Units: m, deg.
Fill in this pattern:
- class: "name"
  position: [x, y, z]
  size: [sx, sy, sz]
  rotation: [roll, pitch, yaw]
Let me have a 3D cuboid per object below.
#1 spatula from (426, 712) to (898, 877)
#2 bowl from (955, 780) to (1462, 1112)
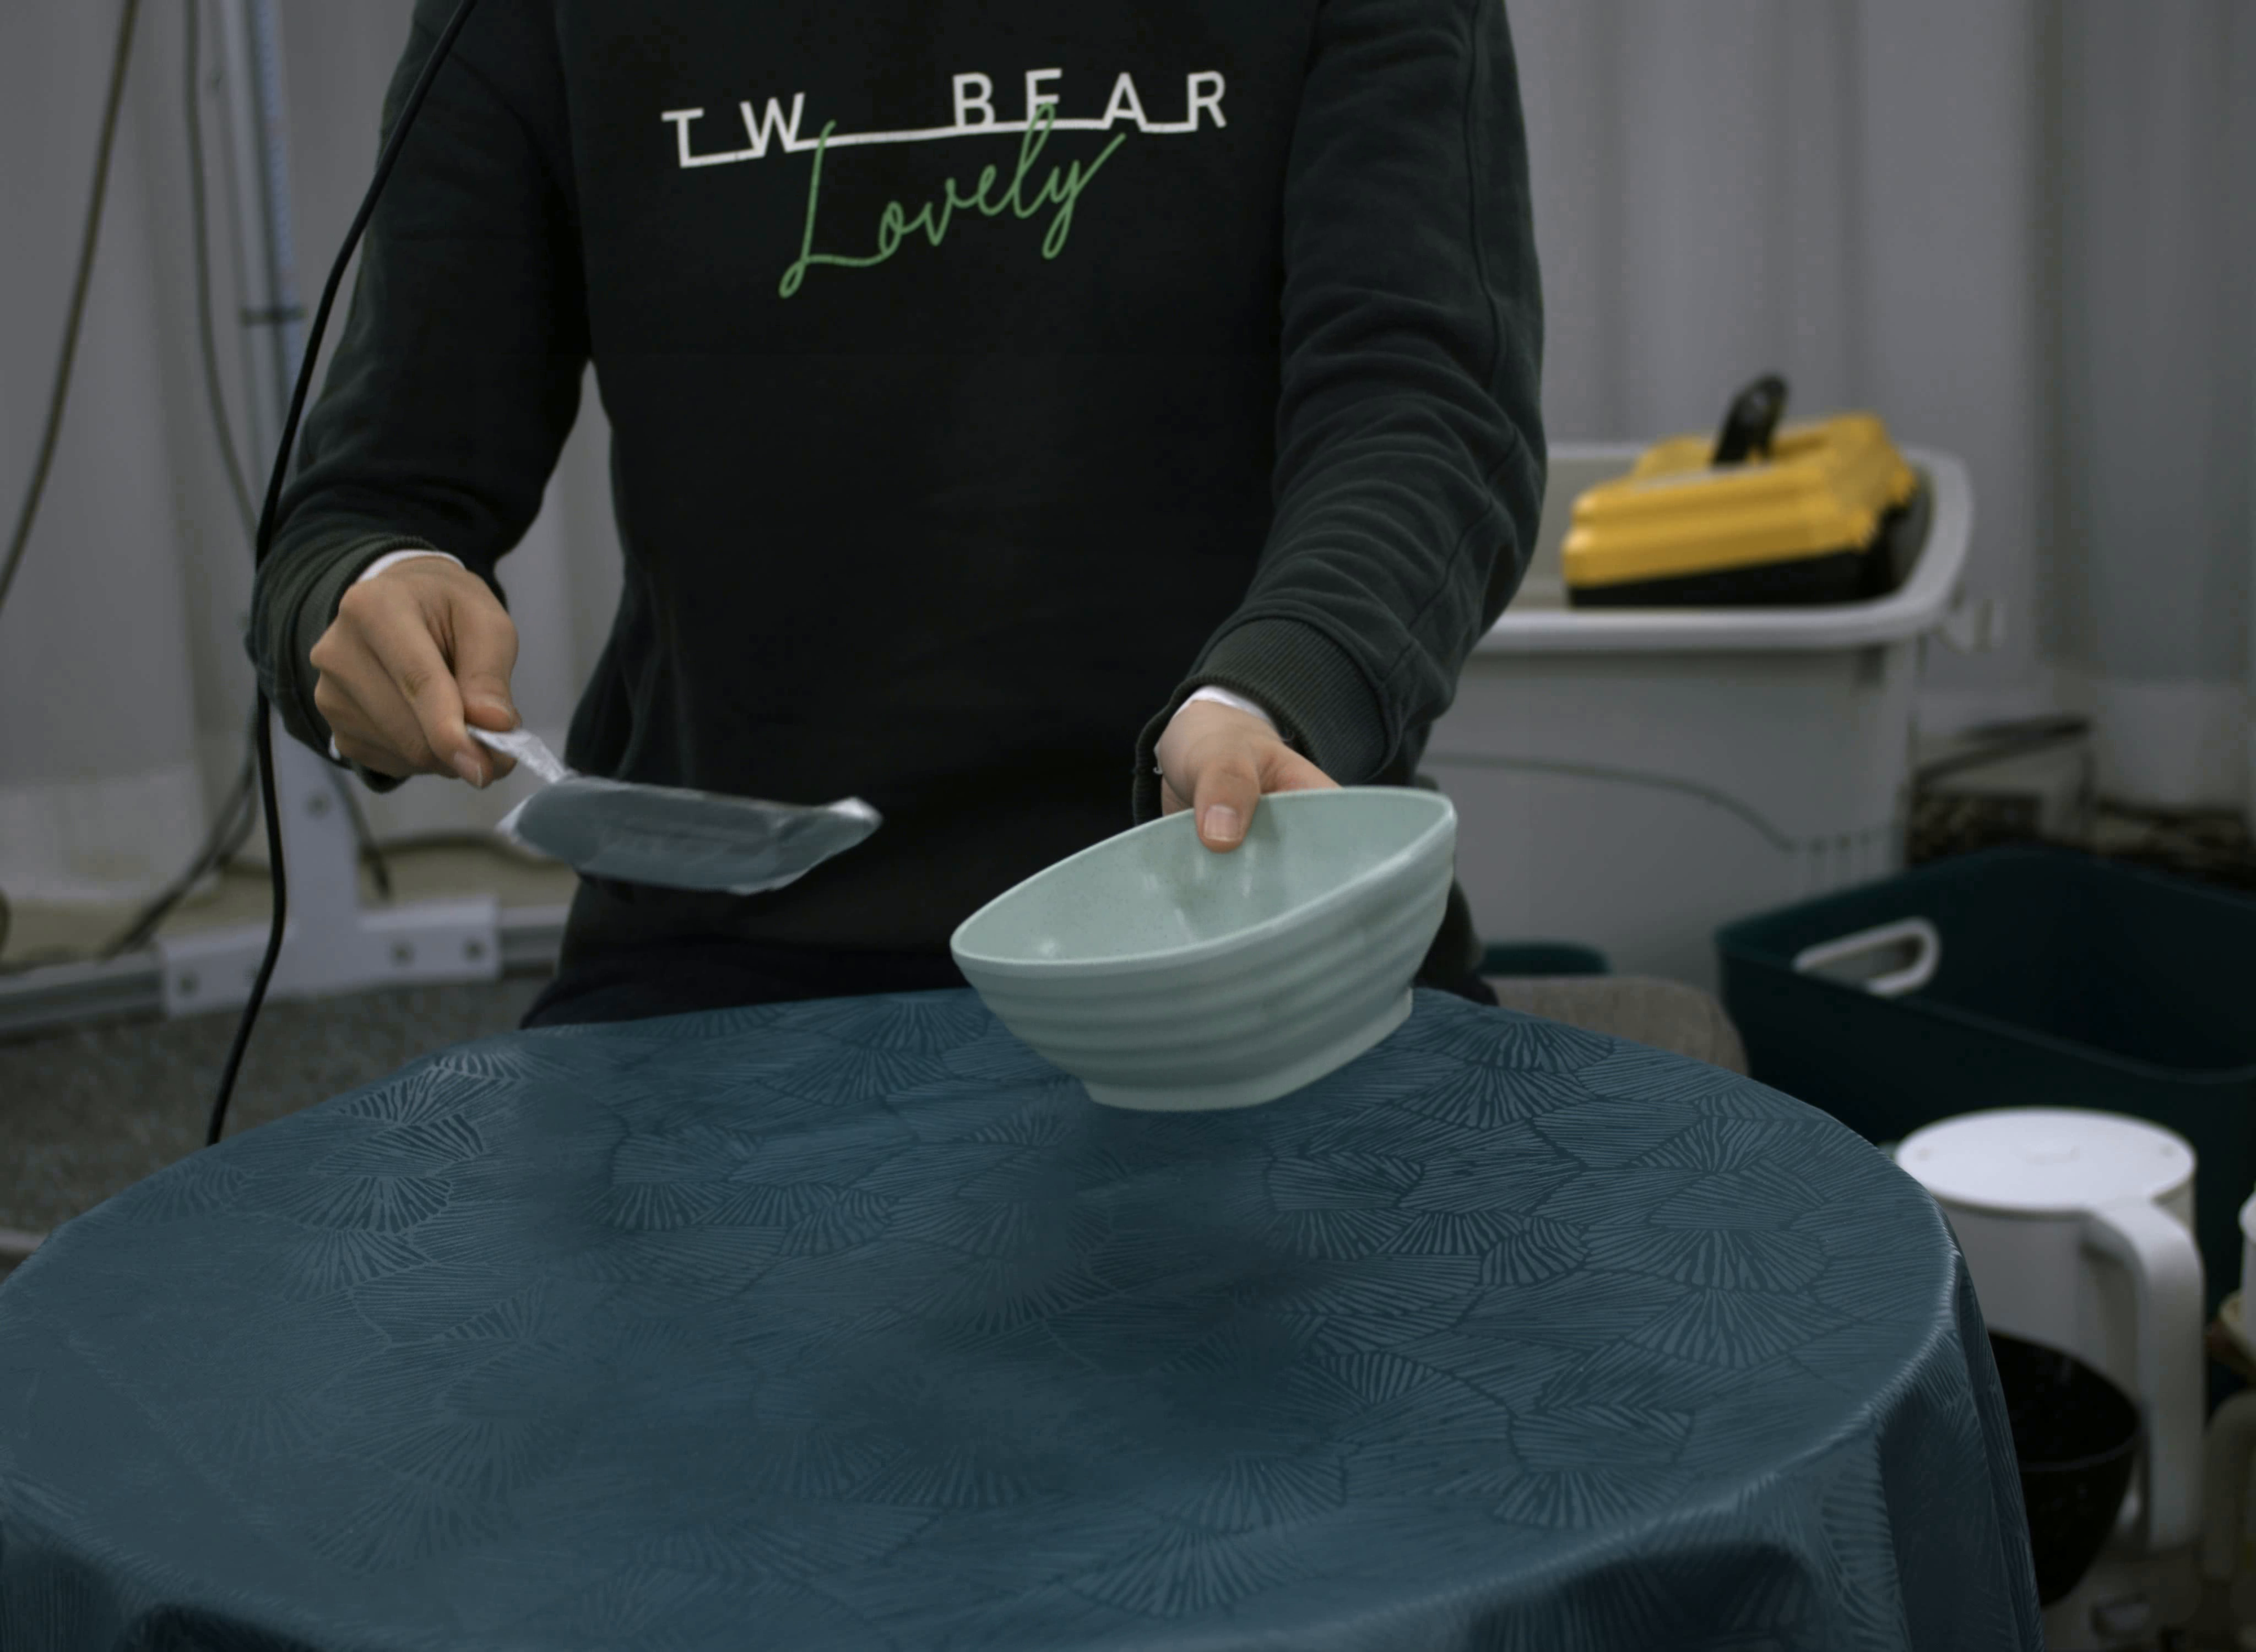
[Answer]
- class: "spatula"
  position: [-0.167, -0.022, 1.665]
  size: [0.098, 0.045, 0.367]
  rotation: [7, 7, -21]
- class: "bowl"
  position: [0.030, 0.039, 1.582]
  size: [0.151, 0.058, 0.152]
  rotation: [-15, 16, 4]
